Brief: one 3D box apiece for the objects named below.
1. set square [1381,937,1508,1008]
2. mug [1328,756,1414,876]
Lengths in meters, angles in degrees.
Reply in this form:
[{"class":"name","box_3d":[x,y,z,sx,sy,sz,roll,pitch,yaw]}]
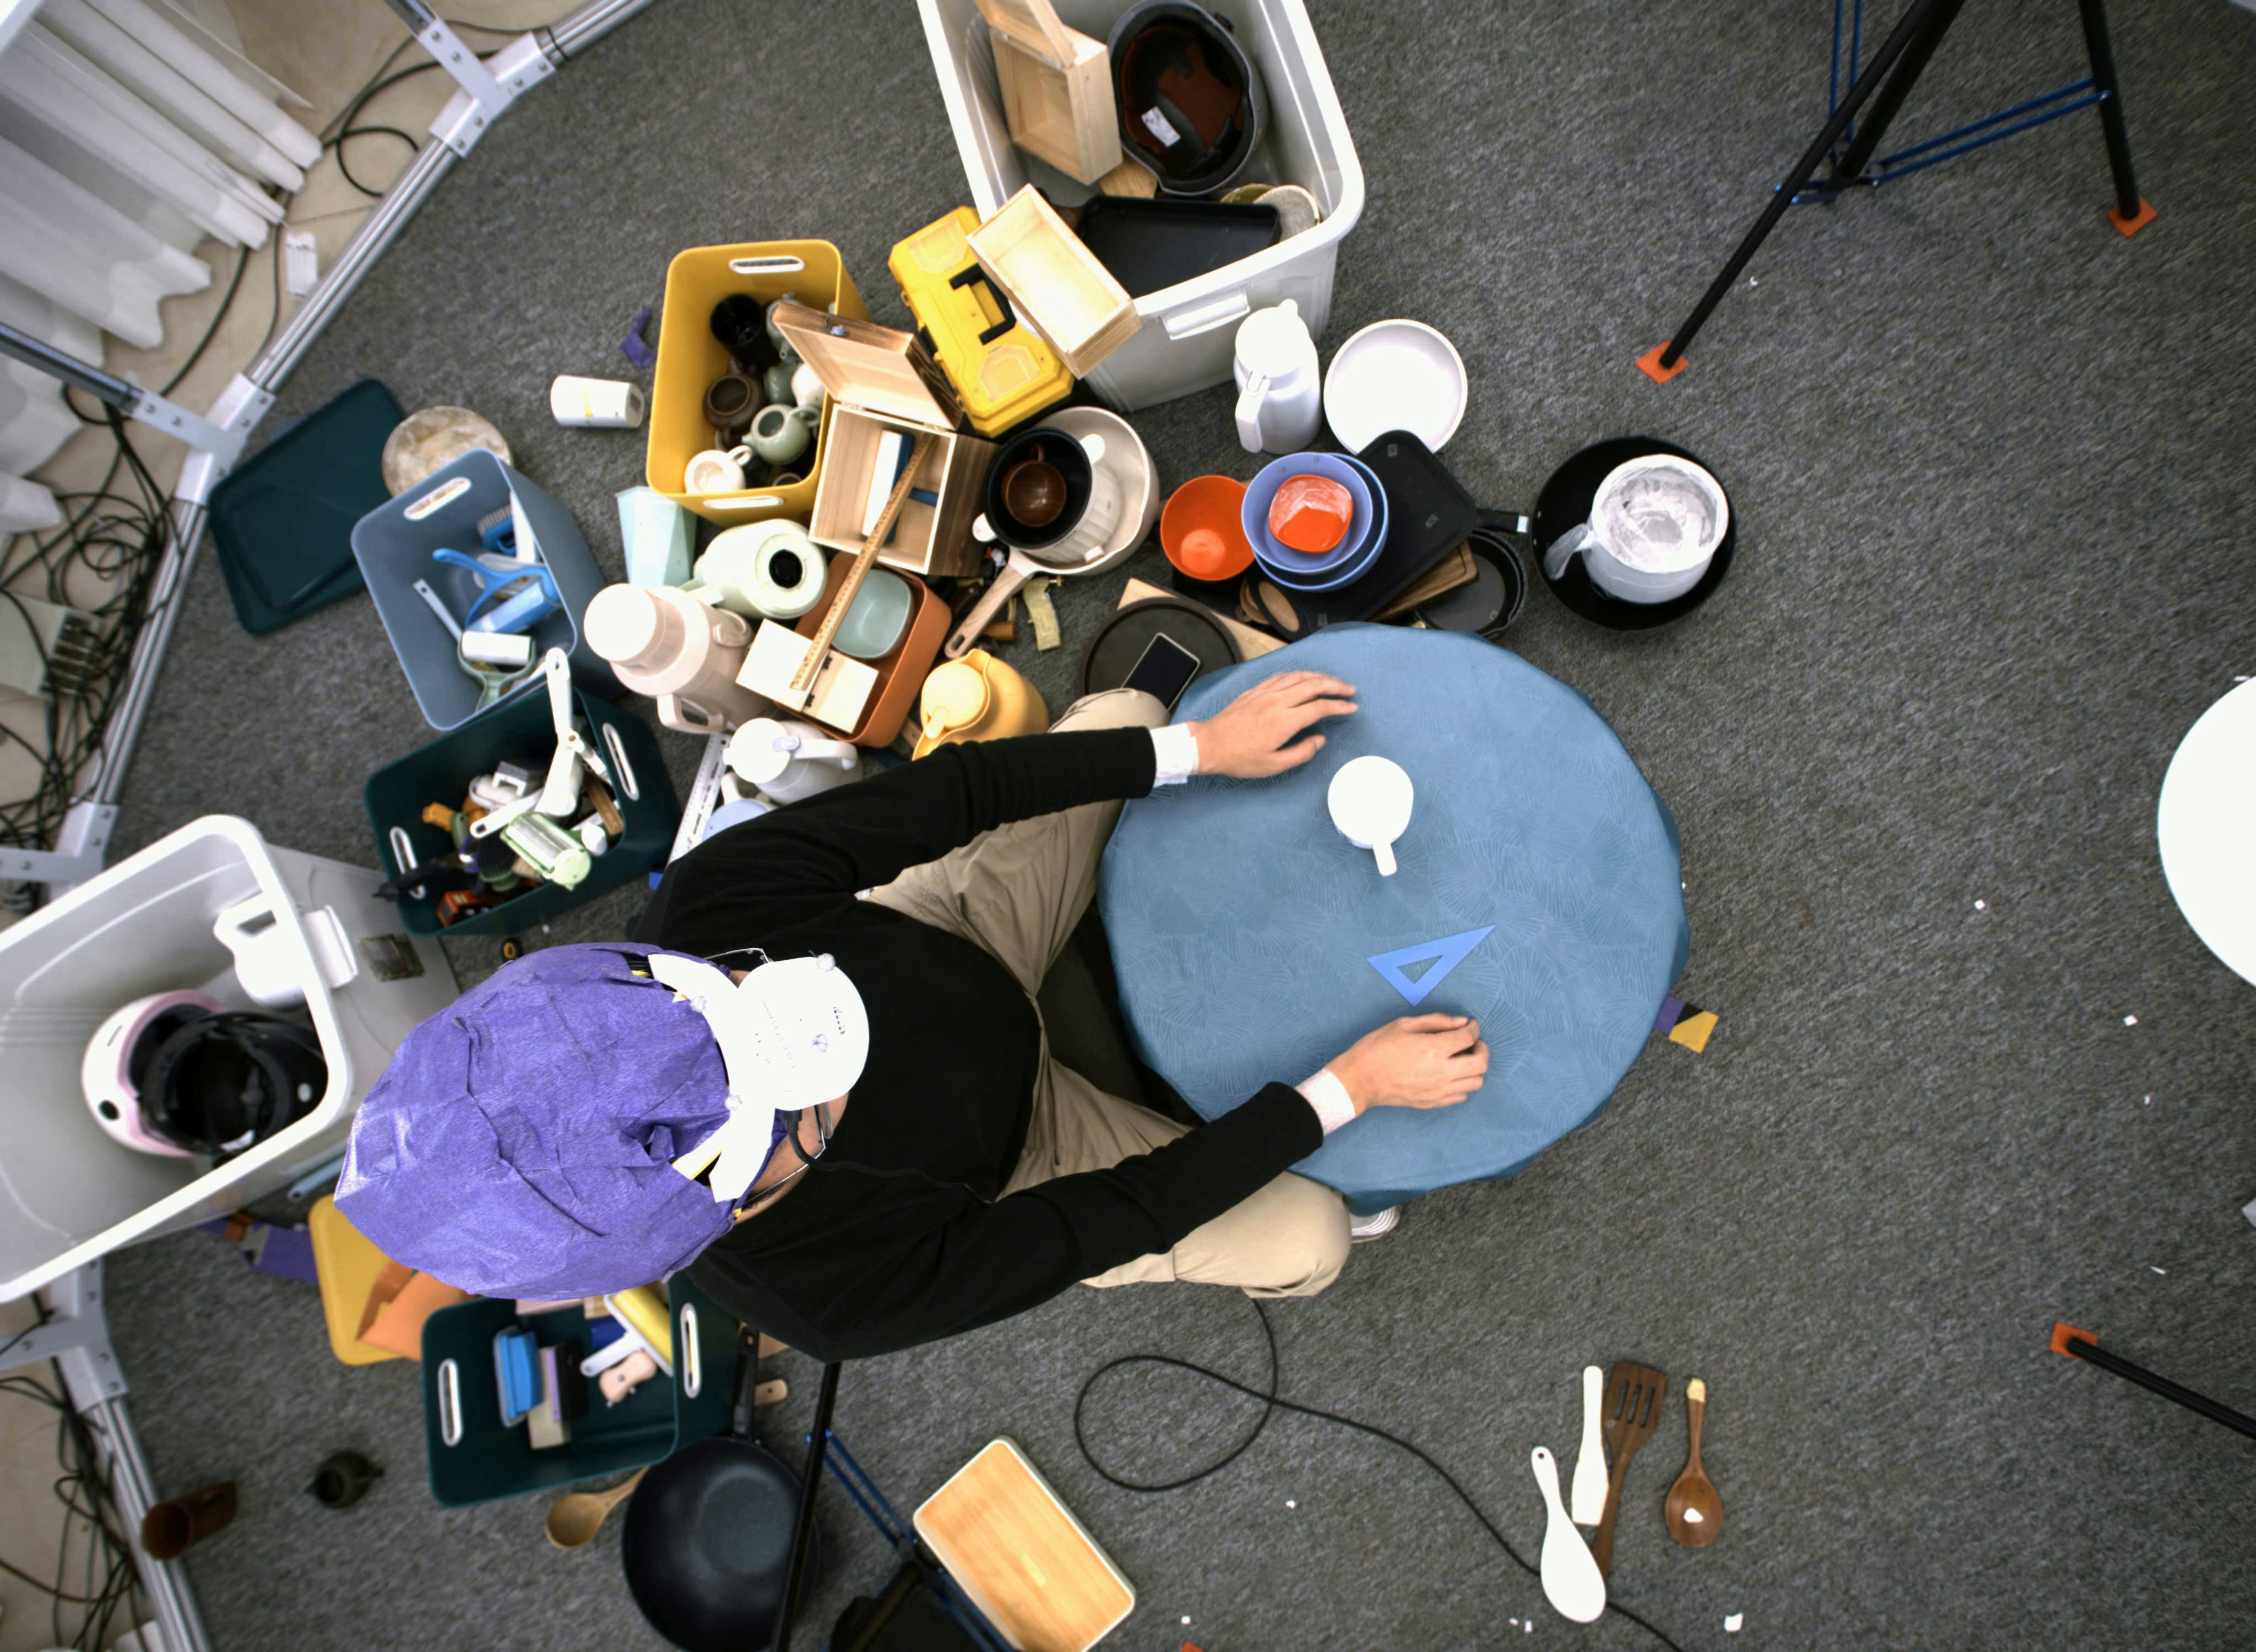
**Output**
[{"class":"set square","box_3d":[0.335,0.152,1.441,0.133,0.006,0.060,-11,83,10]},{"class":"mug","box_3d":[0.253,-0.008,1.416,0.085,0.102,0.117,-14,83,8]}]
